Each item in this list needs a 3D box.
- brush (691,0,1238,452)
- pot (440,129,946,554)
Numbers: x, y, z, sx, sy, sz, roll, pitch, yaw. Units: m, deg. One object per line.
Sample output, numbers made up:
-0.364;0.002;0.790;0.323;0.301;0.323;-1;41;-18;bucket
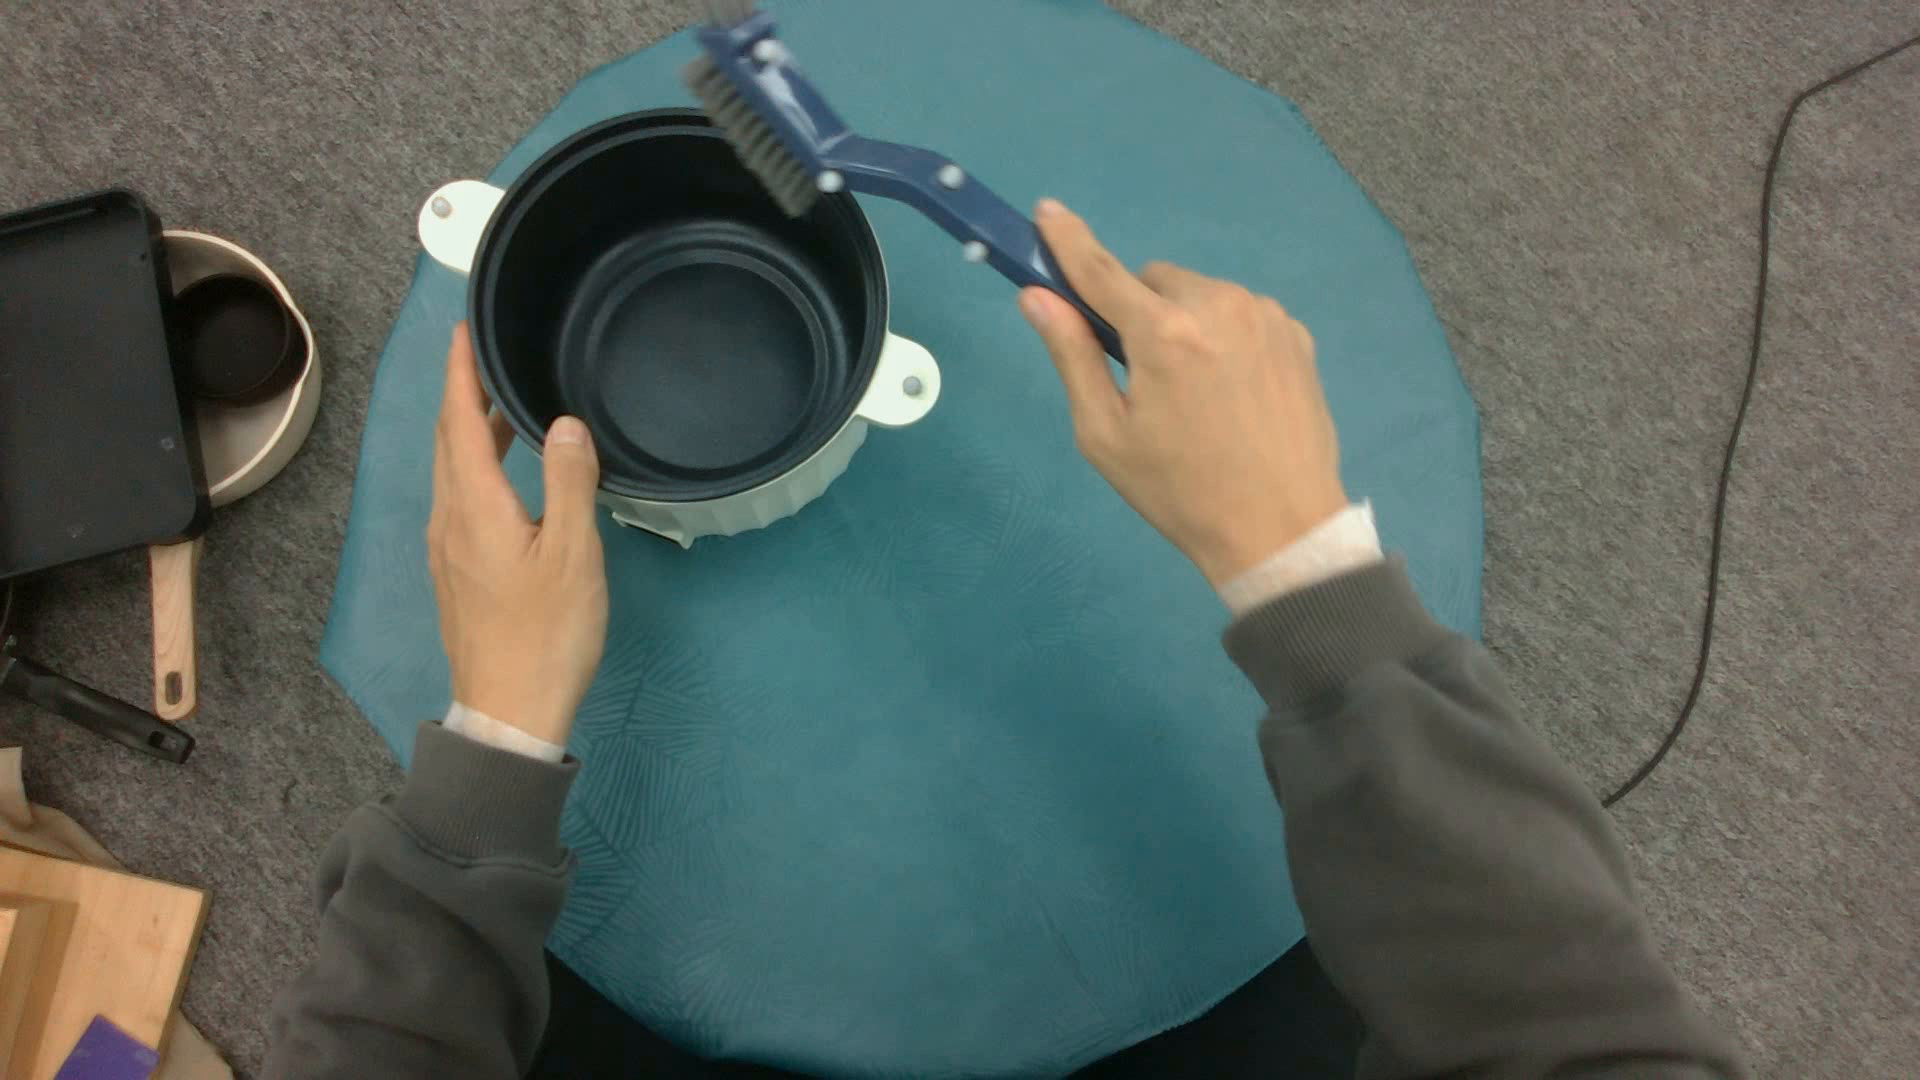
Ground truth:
-0.001;-0.132;0.552;0.273;0.095;0.034;31;47;11;brush
-0.123;-0.095;0.685;0.240;0.142;0.191;19;82;0;pot
